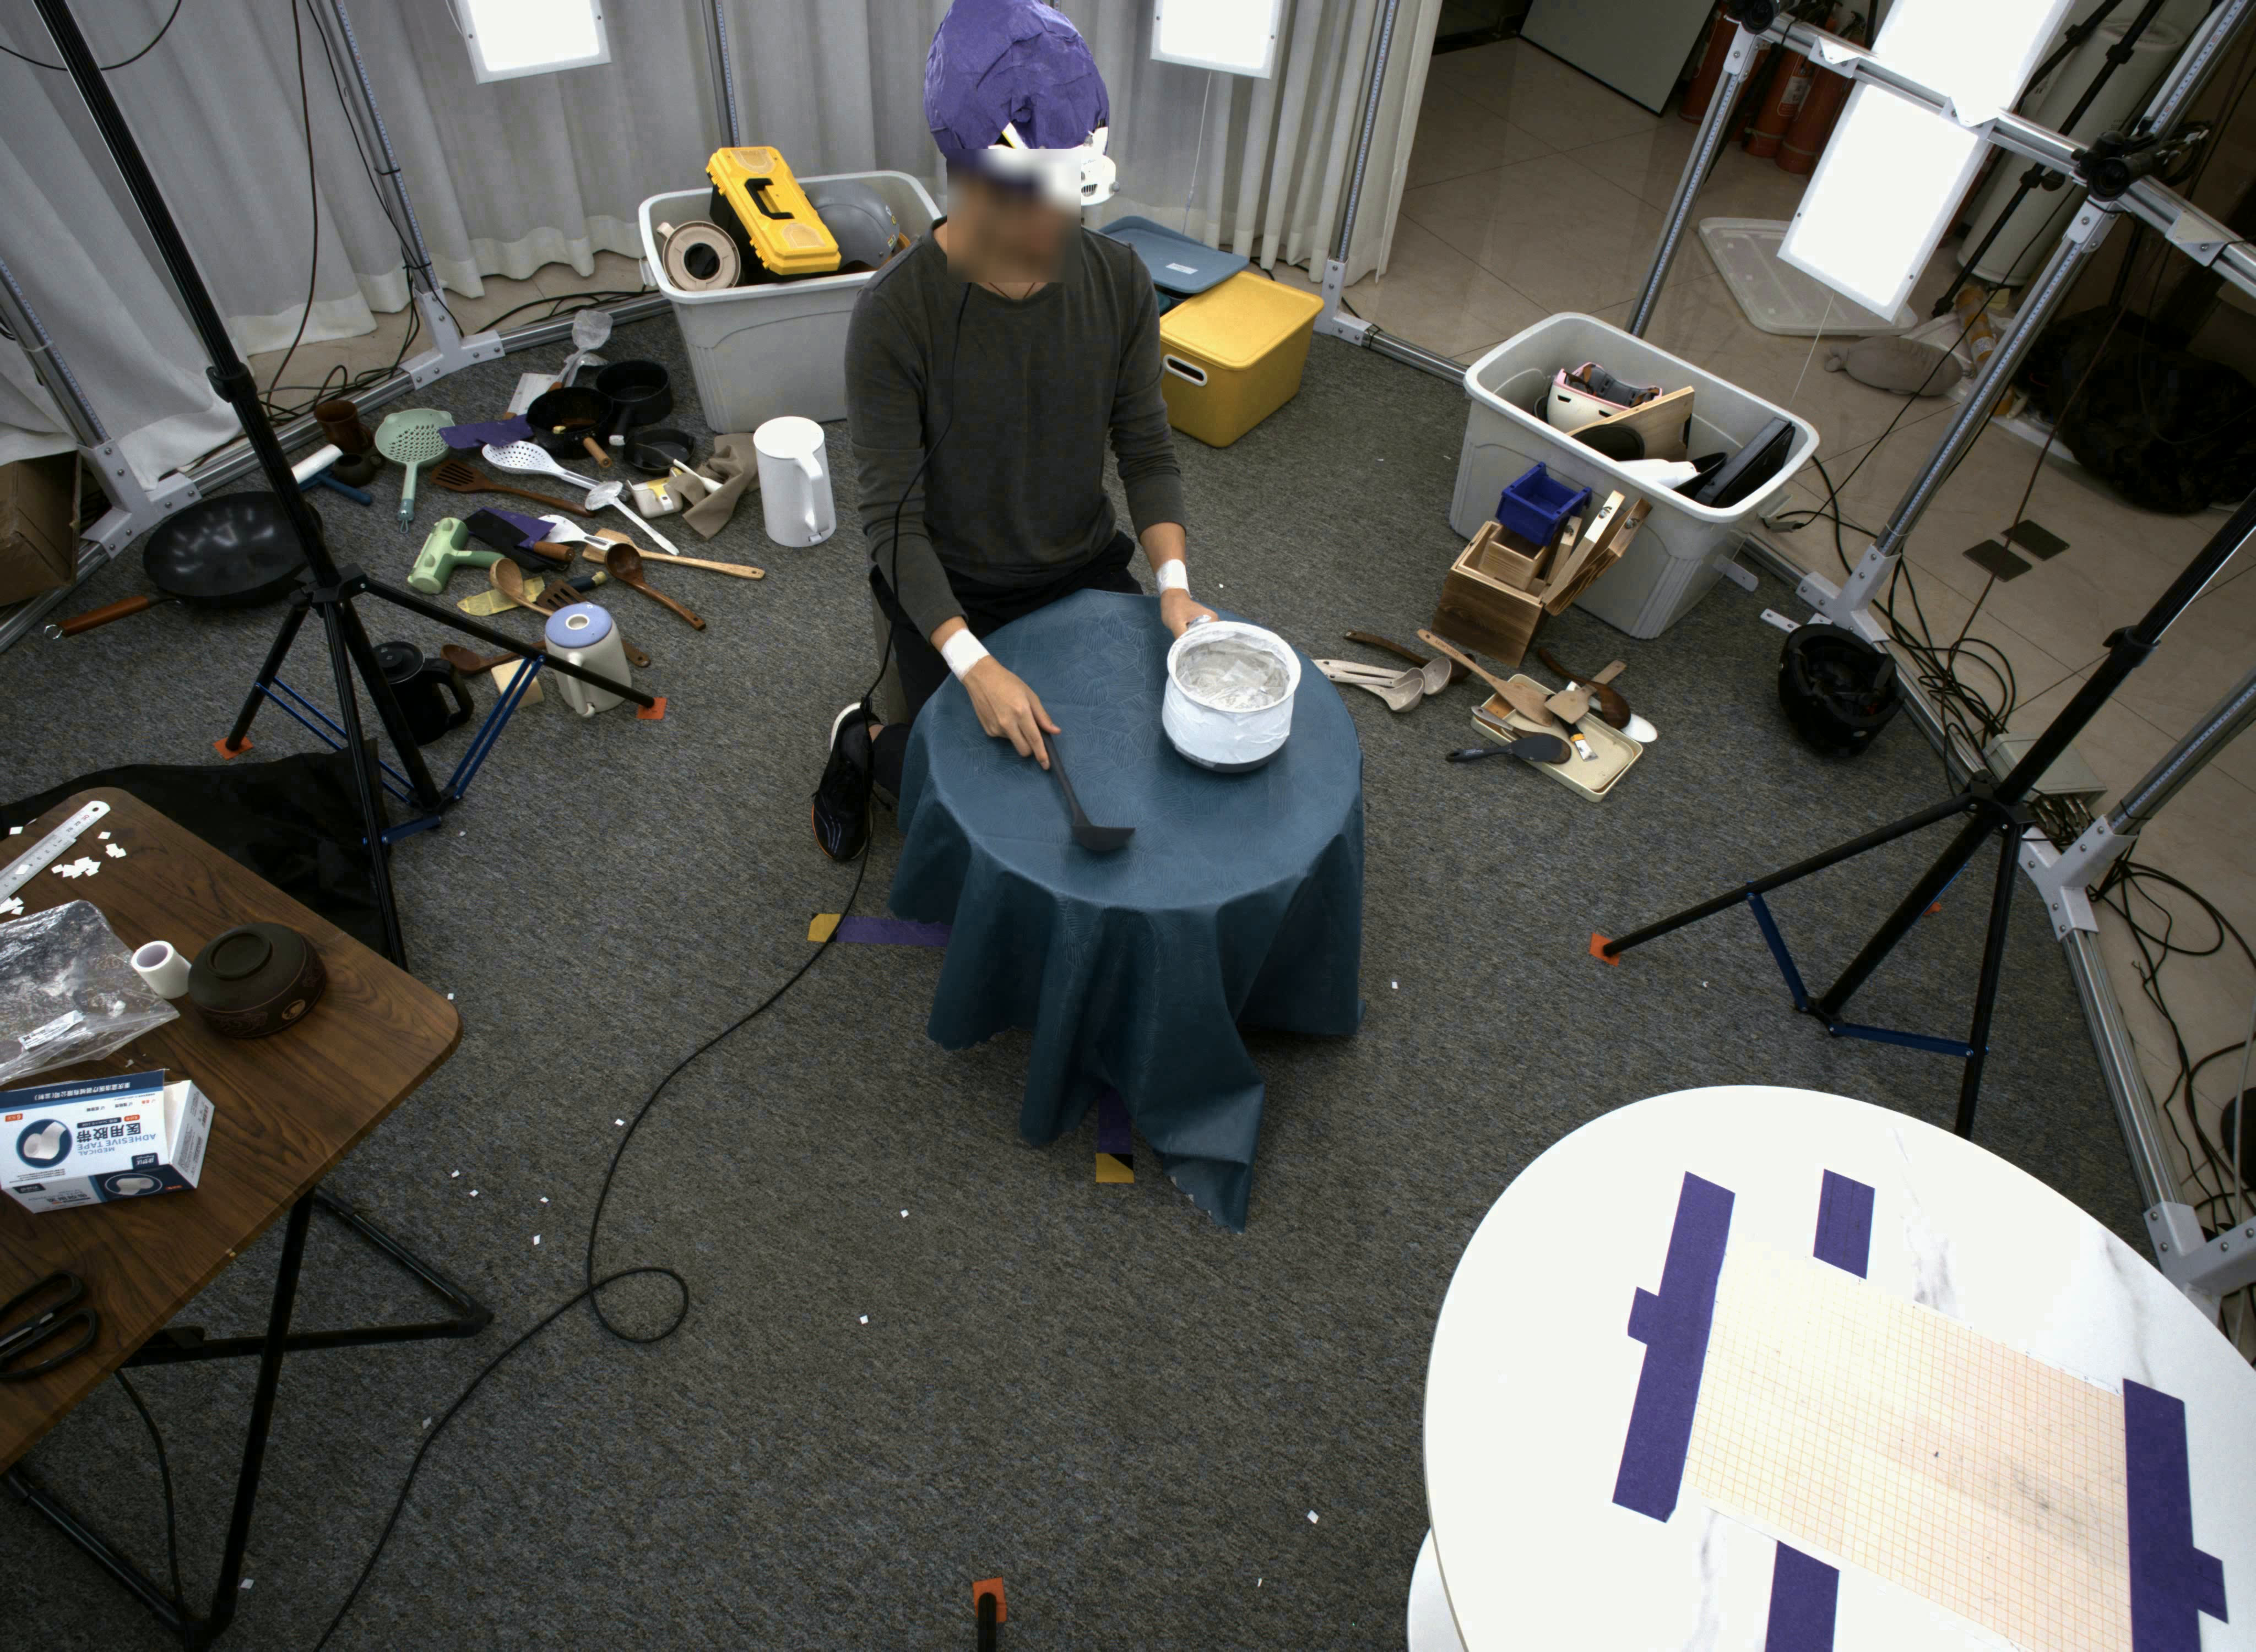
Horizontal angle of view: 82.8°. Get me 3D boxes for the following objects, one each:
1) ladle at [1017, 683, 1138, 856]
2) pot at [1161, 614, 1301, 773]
[{"bbox_3d":[-0.079,-0.089,1.686,0.085,0.063,0.321,10,44,-42],"label":"ladle"},{"bbox_3d":[0.126,-0.190,1.752,0.179,0.133,0.239,-14,51,-16],"label":"pot"}]
